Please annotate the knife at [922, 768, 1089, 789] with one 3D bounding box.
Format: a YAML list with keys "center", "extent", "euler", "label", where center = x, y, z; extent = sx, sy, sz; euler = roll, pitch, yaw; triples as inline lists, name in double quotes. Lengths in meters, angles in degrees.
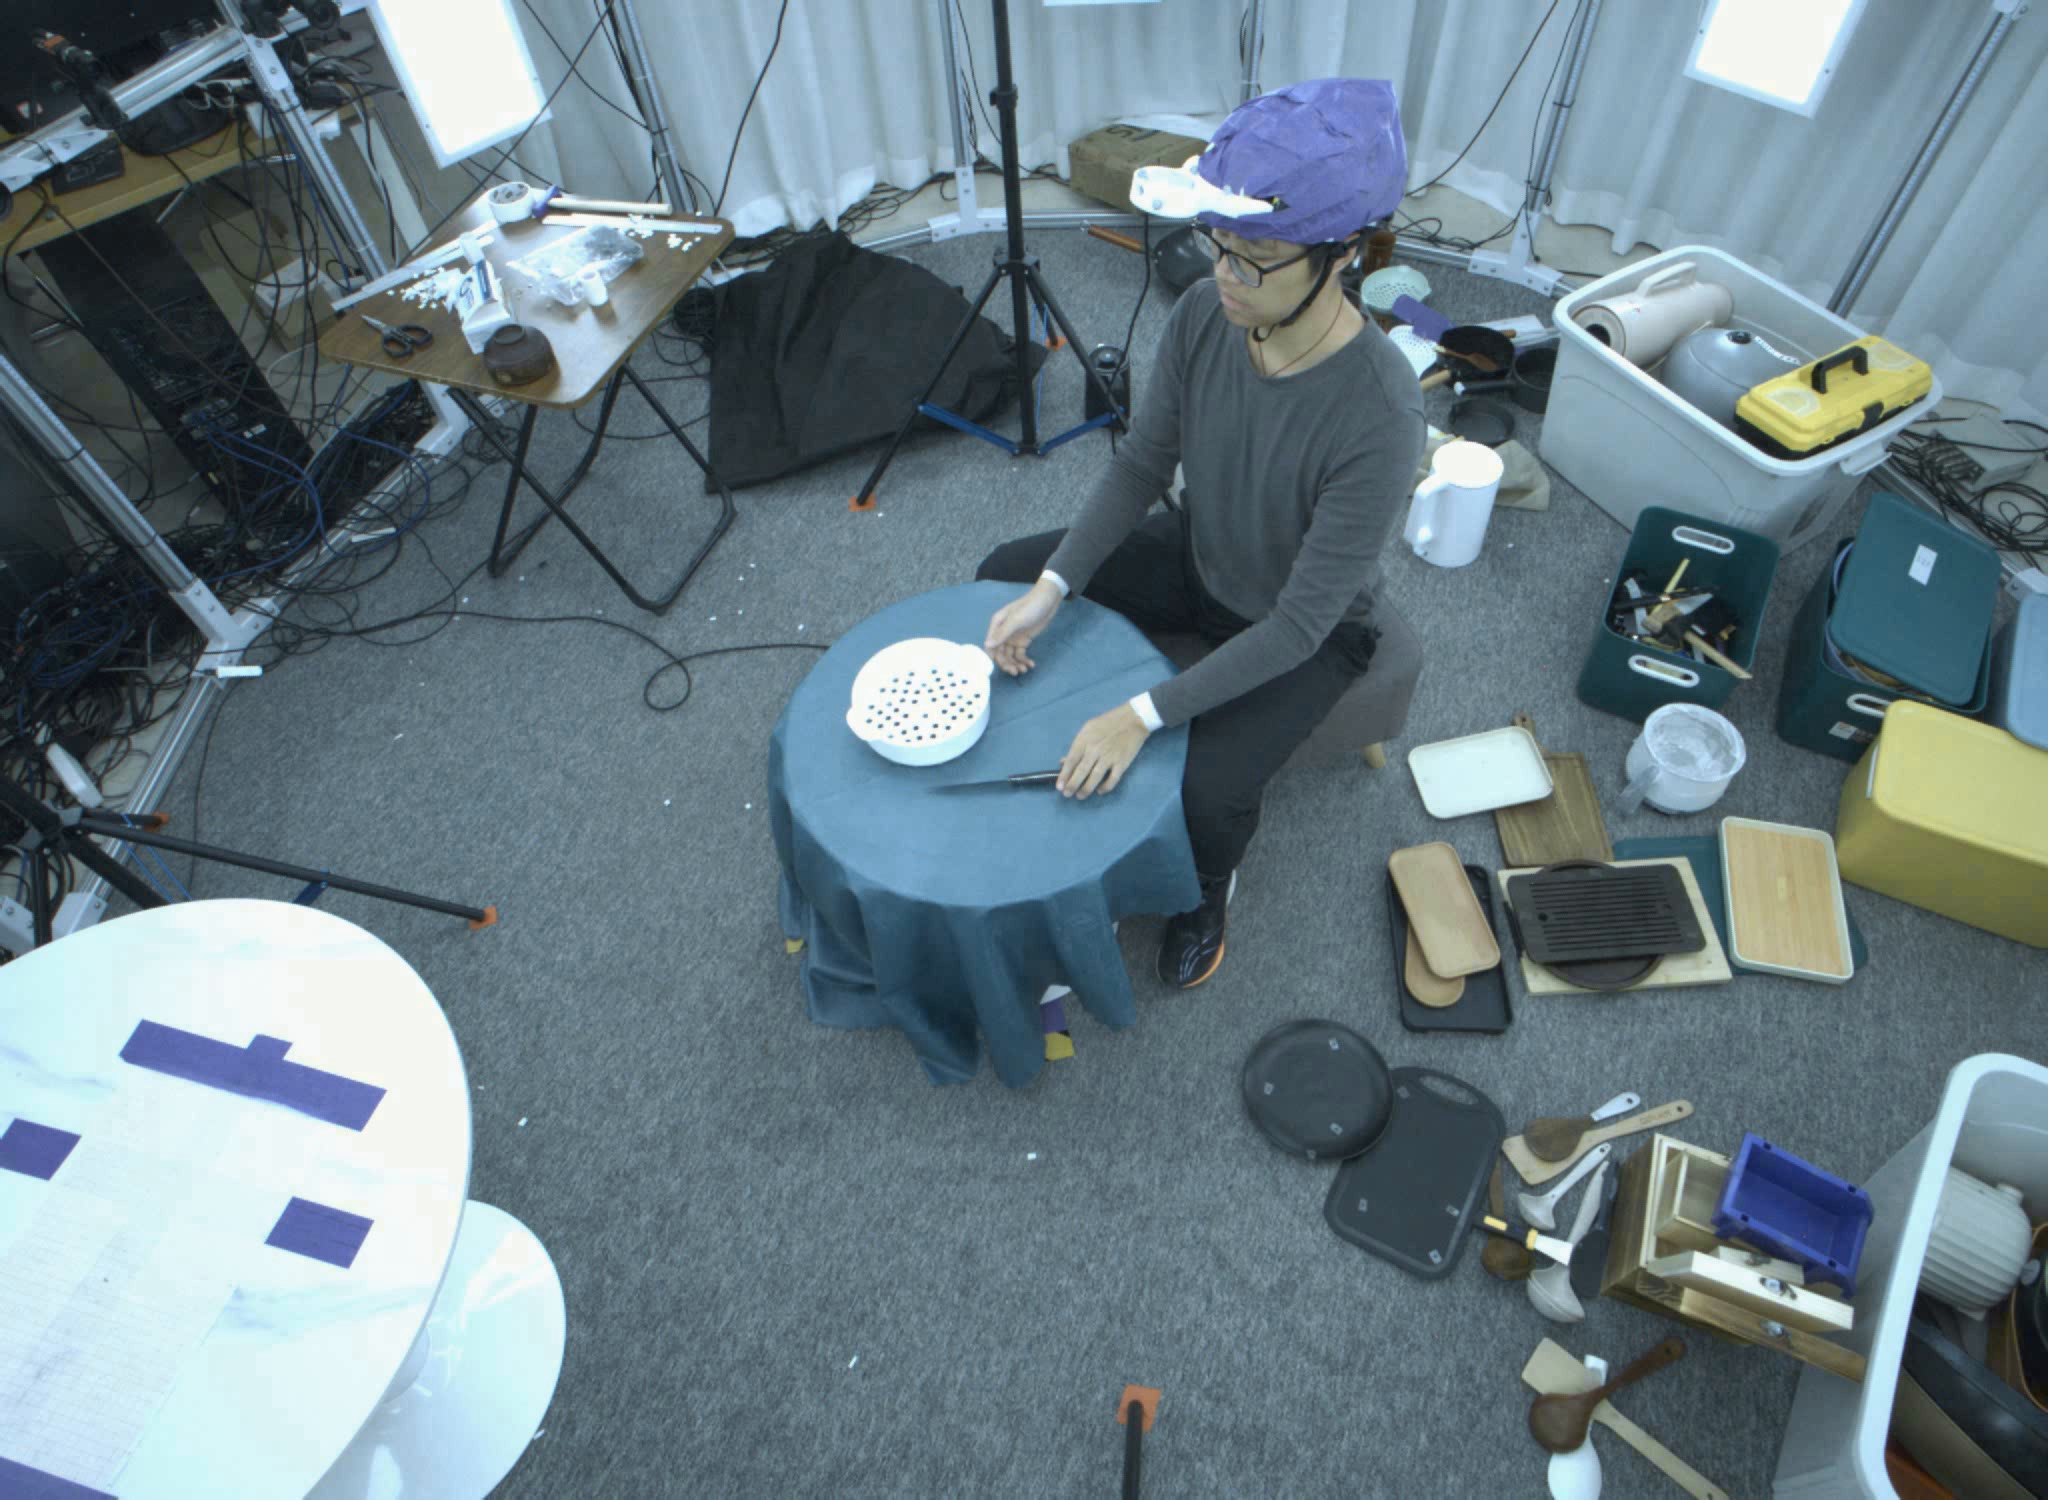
- center: [-0.026, 0.044, 1.753]
  extent: [0.239, 0.024, 0.016]
  euler: [-6, 83, -3]
  label: "knife"

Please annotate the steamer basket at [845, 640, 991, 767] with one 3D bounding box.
- center: [-0.153, -0.067, 1.806]
  extent: [0.232, 0.070, 0.198]
  euler: [-30, 60, -21]
  label: "steamer basket"
